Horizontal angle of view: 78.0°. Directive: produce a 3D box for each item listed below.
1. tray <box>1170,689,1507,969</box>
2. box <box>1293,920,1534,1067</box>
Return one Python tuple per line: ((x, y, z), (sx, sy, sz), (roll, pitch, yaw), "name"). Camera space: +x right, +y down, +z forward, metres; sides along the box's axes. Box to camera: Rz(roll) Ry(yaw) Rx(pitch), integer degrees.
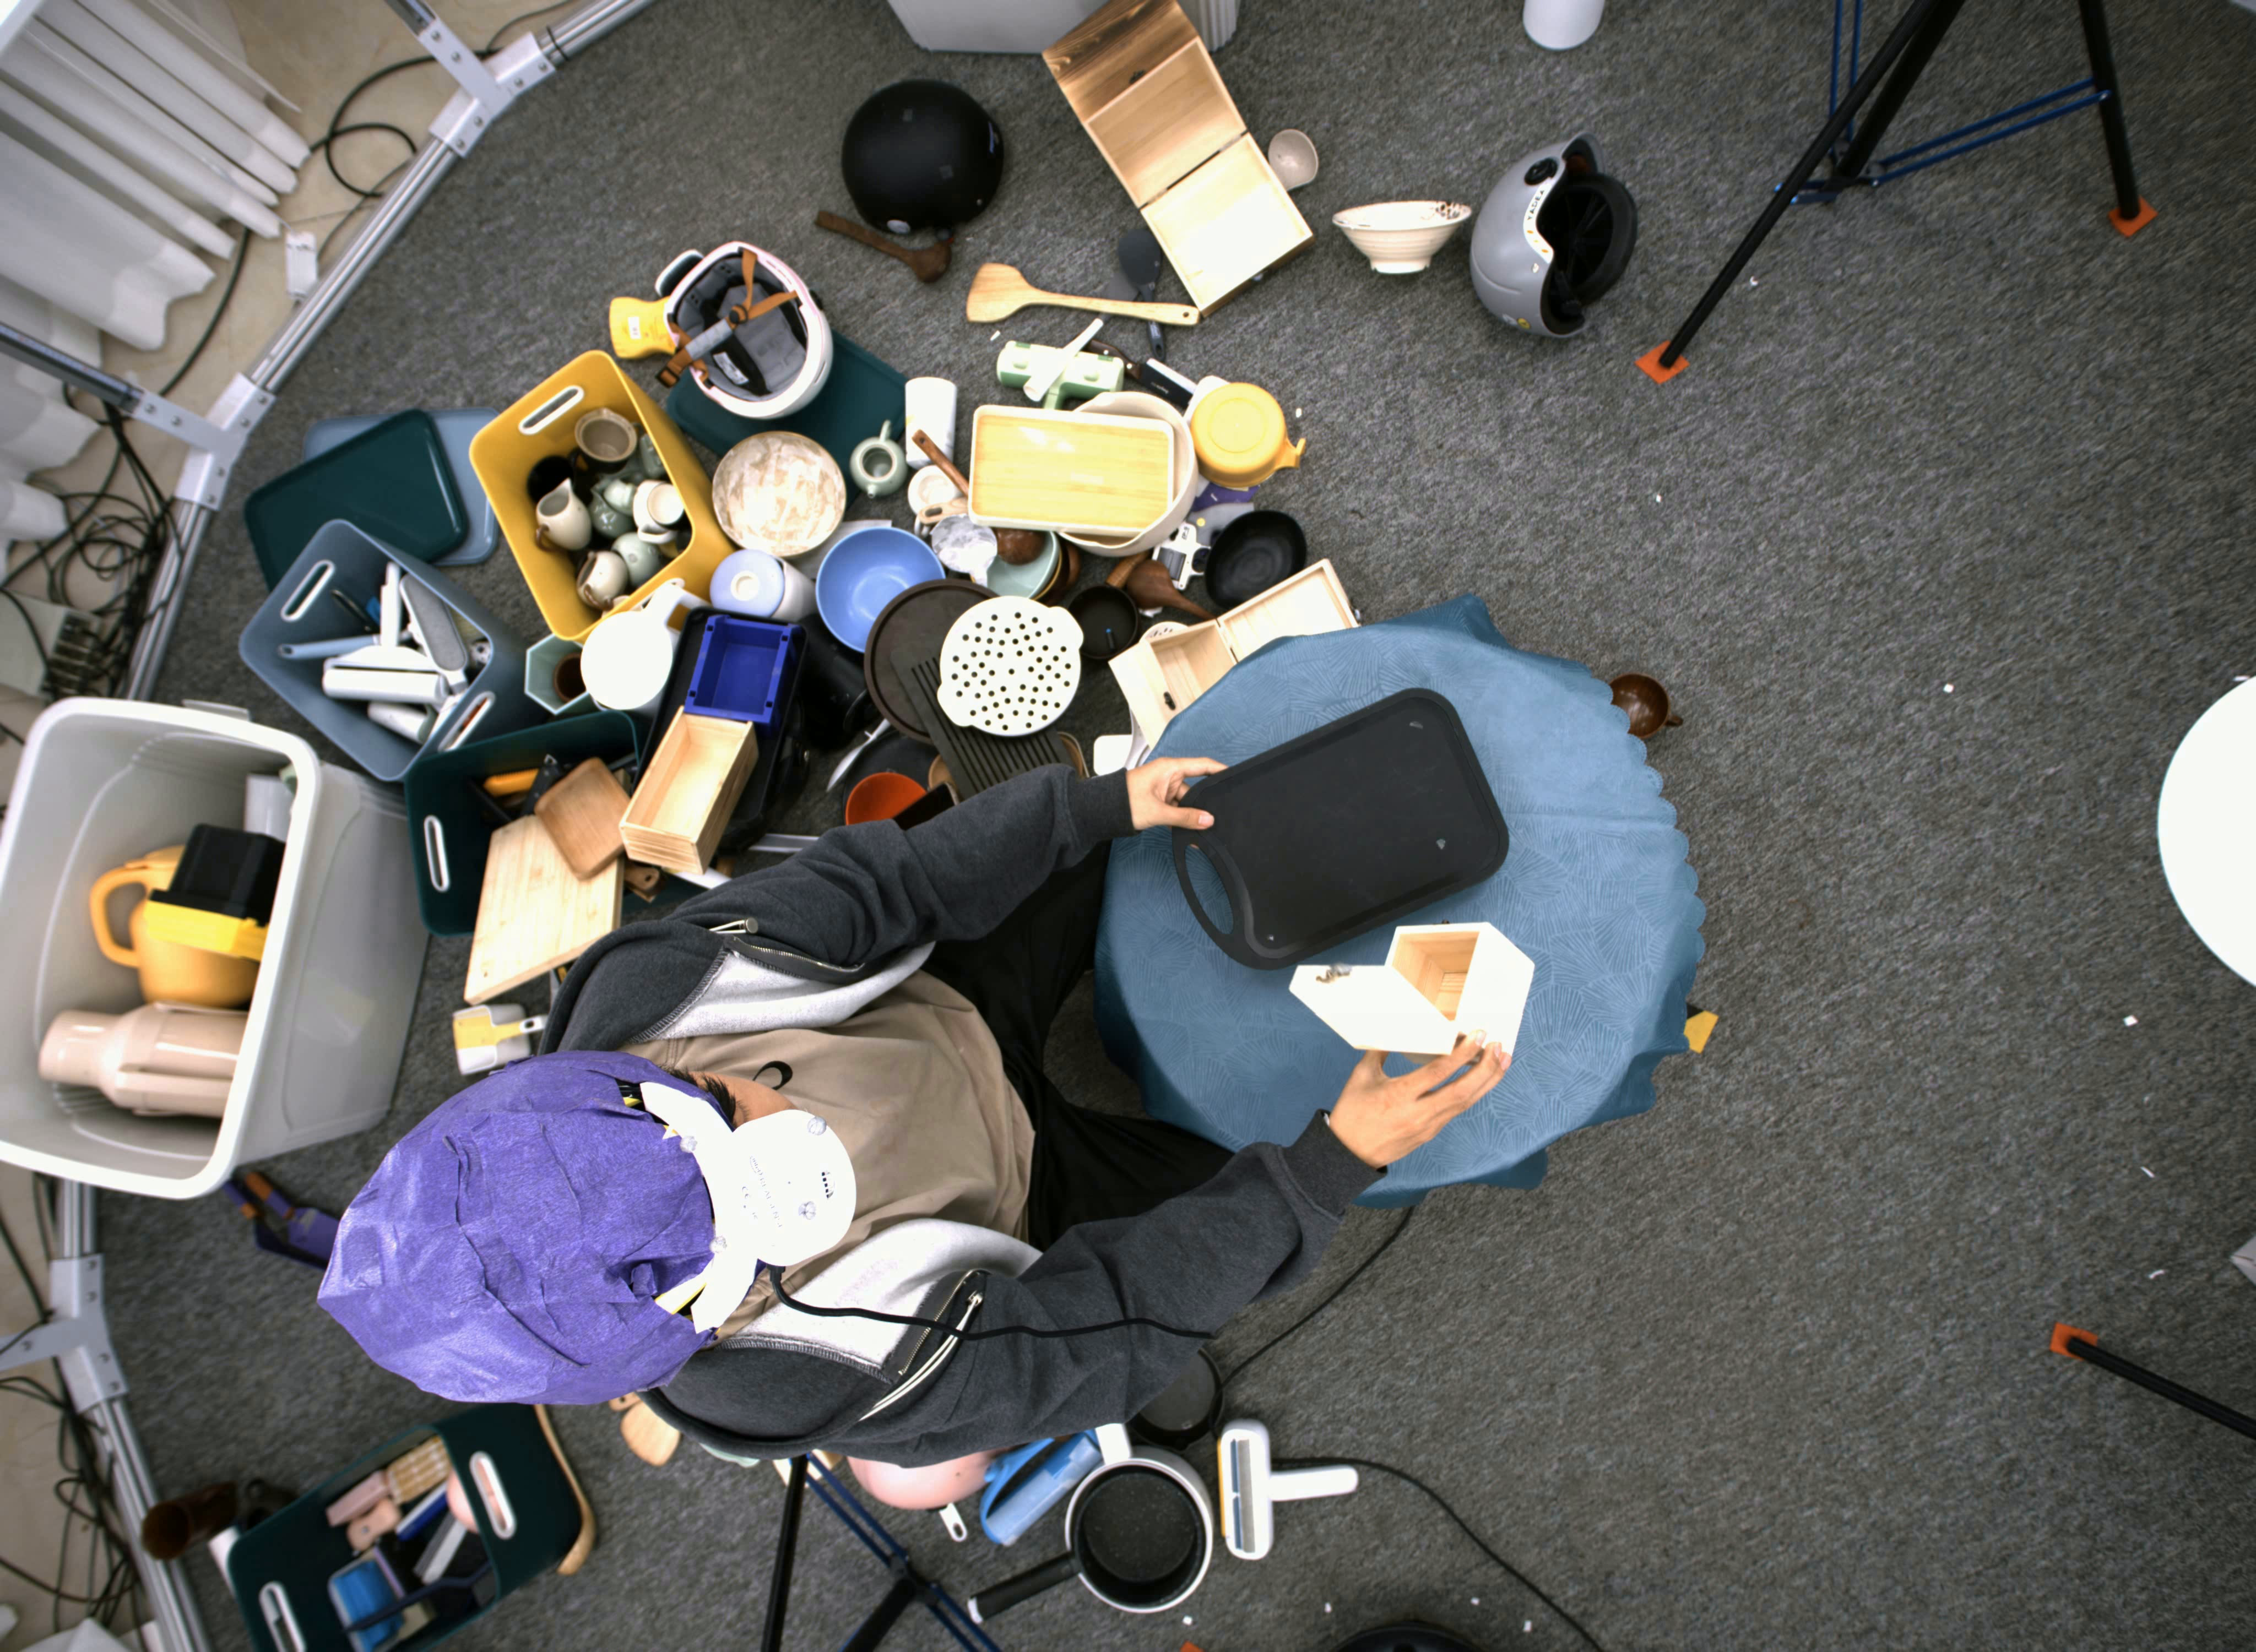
((0.206, 0.008, 1.390), (0.327, 0.010, 0.211), (-23, 95, 6), "tray")
((0.250, 0.130, 1.191), (0.103, 0.186, 0.131), (-3, 58, 47), "box")
